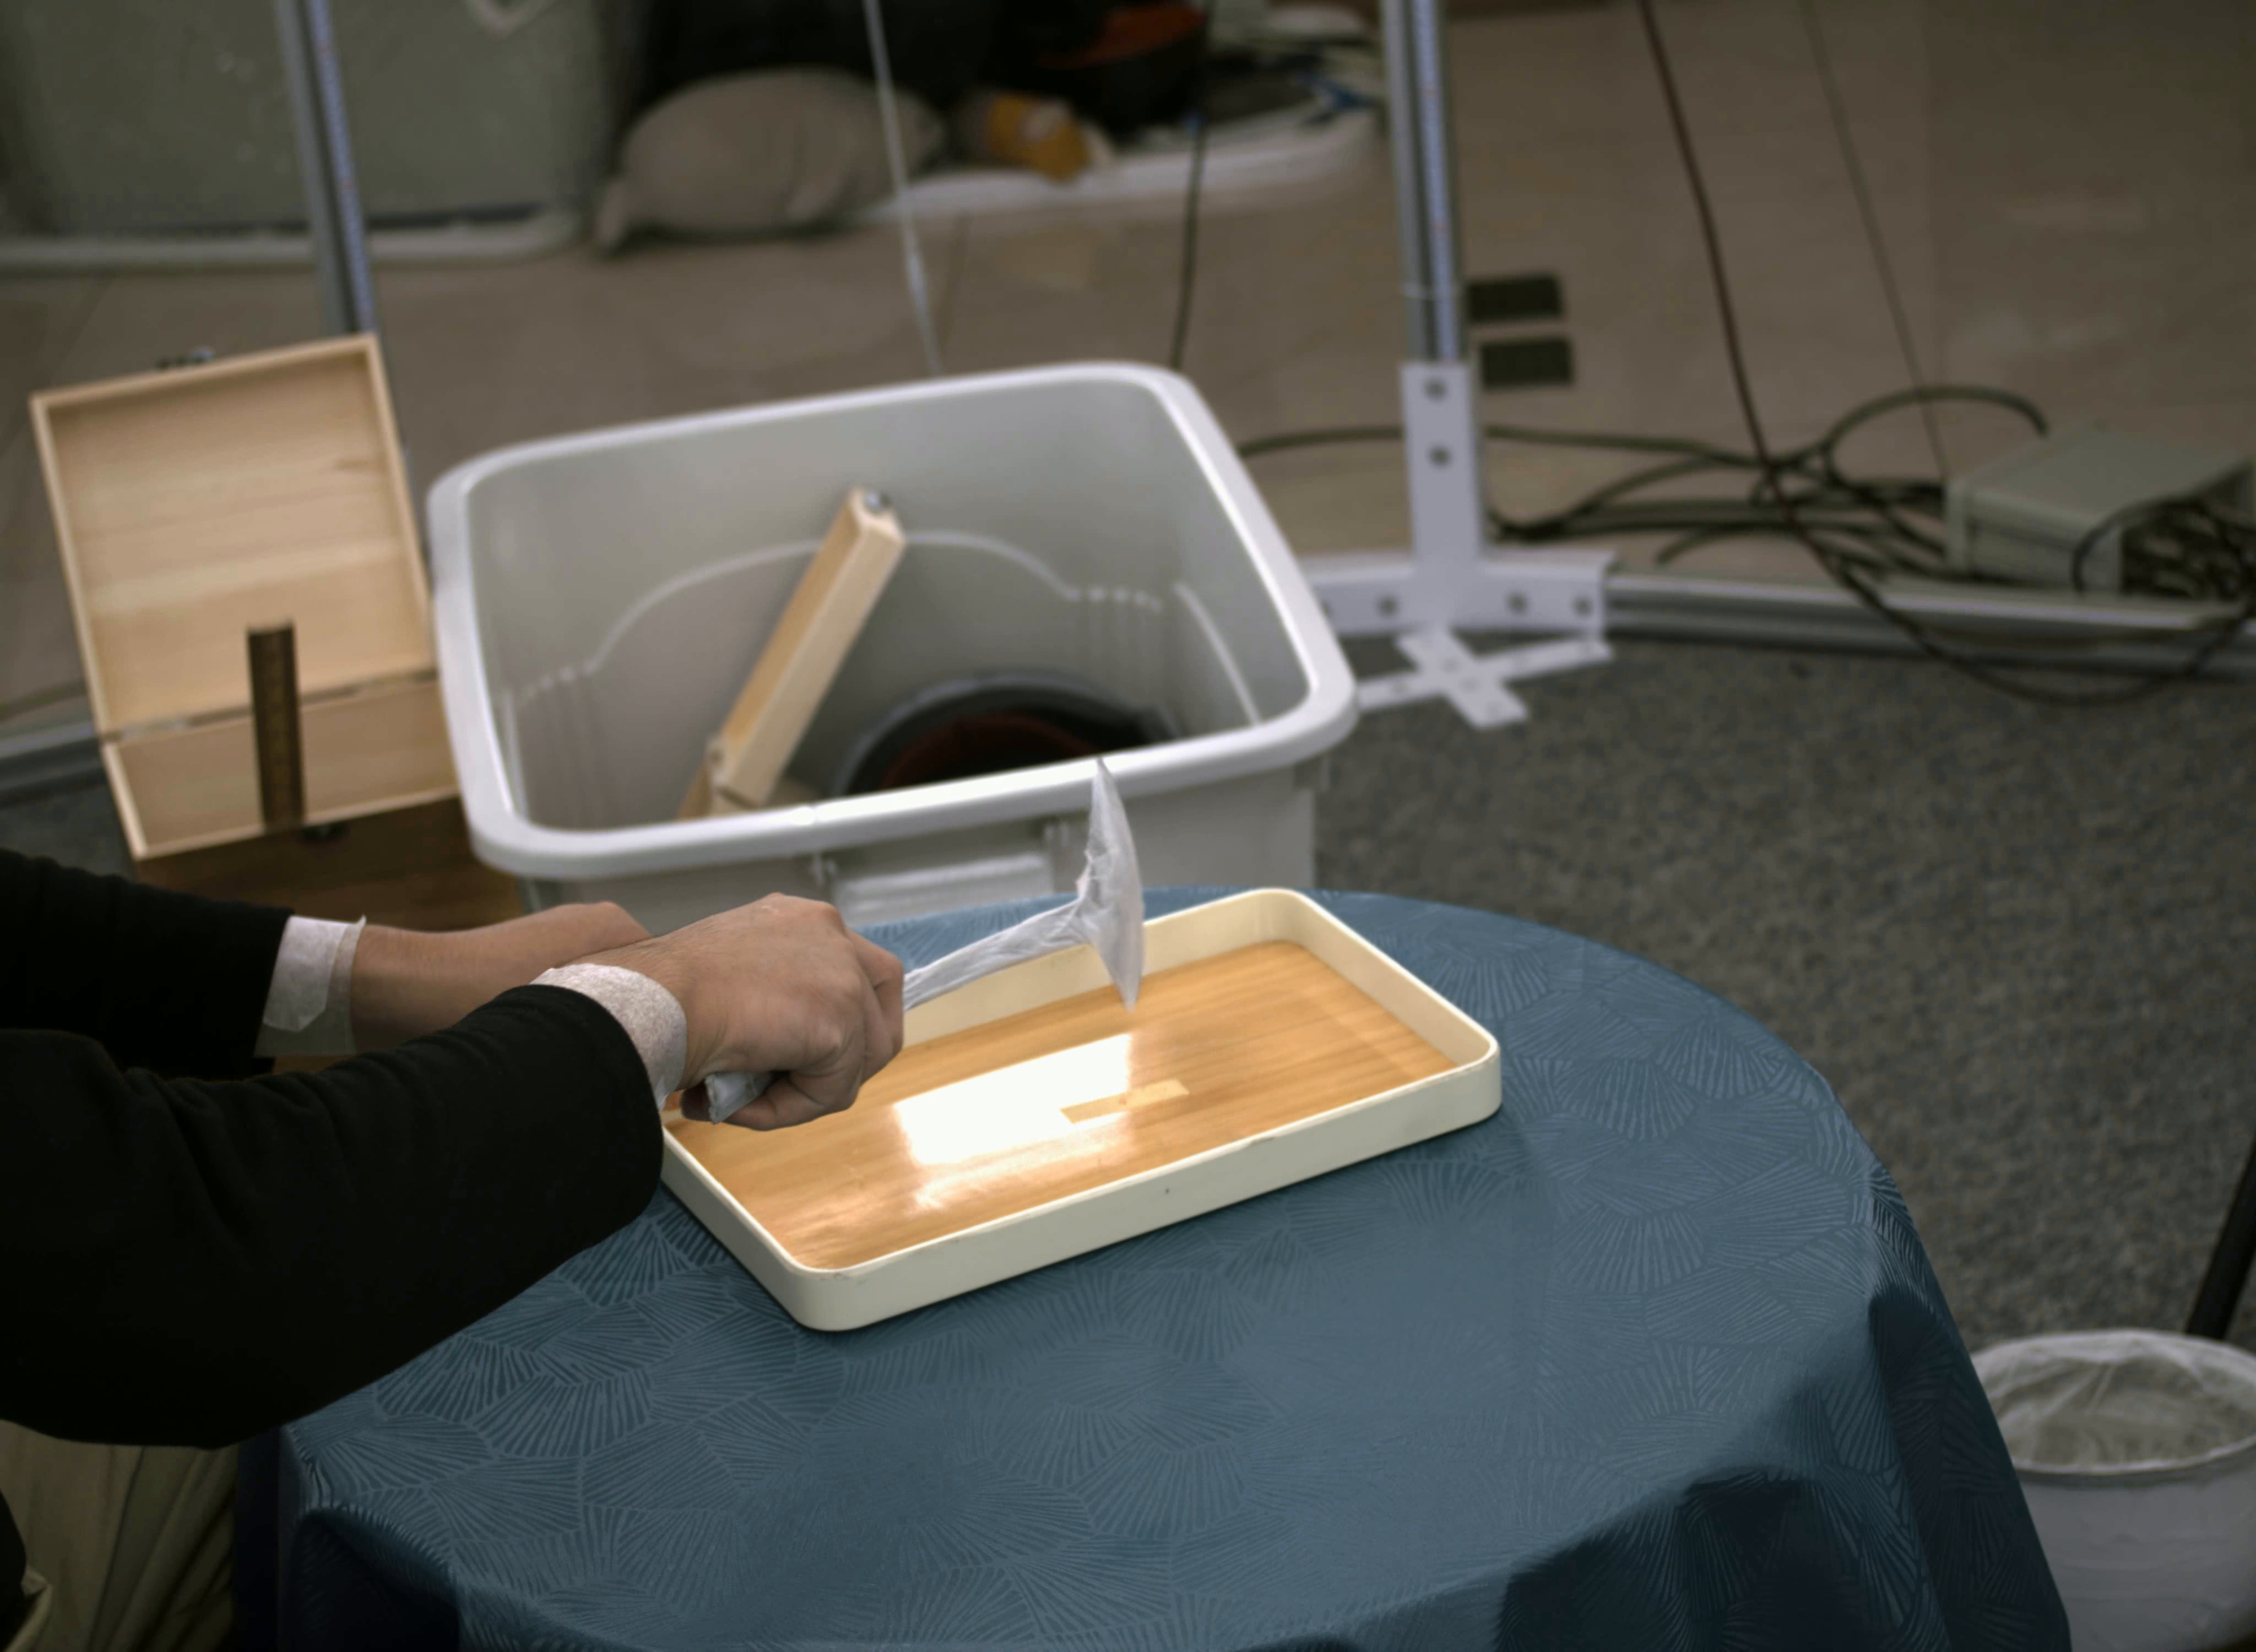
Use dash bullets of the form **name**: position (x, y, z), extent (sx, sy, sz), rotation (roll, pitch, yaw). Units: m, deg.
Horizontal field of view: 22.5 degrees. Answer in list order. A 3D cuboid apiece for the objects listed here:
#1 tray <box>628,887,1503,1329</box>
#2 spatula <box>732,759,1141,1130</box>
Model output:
- **tray**: position (-0.025, 0.105, 2.190), extent (0.299, 0.028, 0.189), rotation (-17, 28, -21)
- **spatula**: position (-0.068, 0.054, 2.081), extent (0.045, 0.099, 0.362), rotation (-2, 11, 30)
